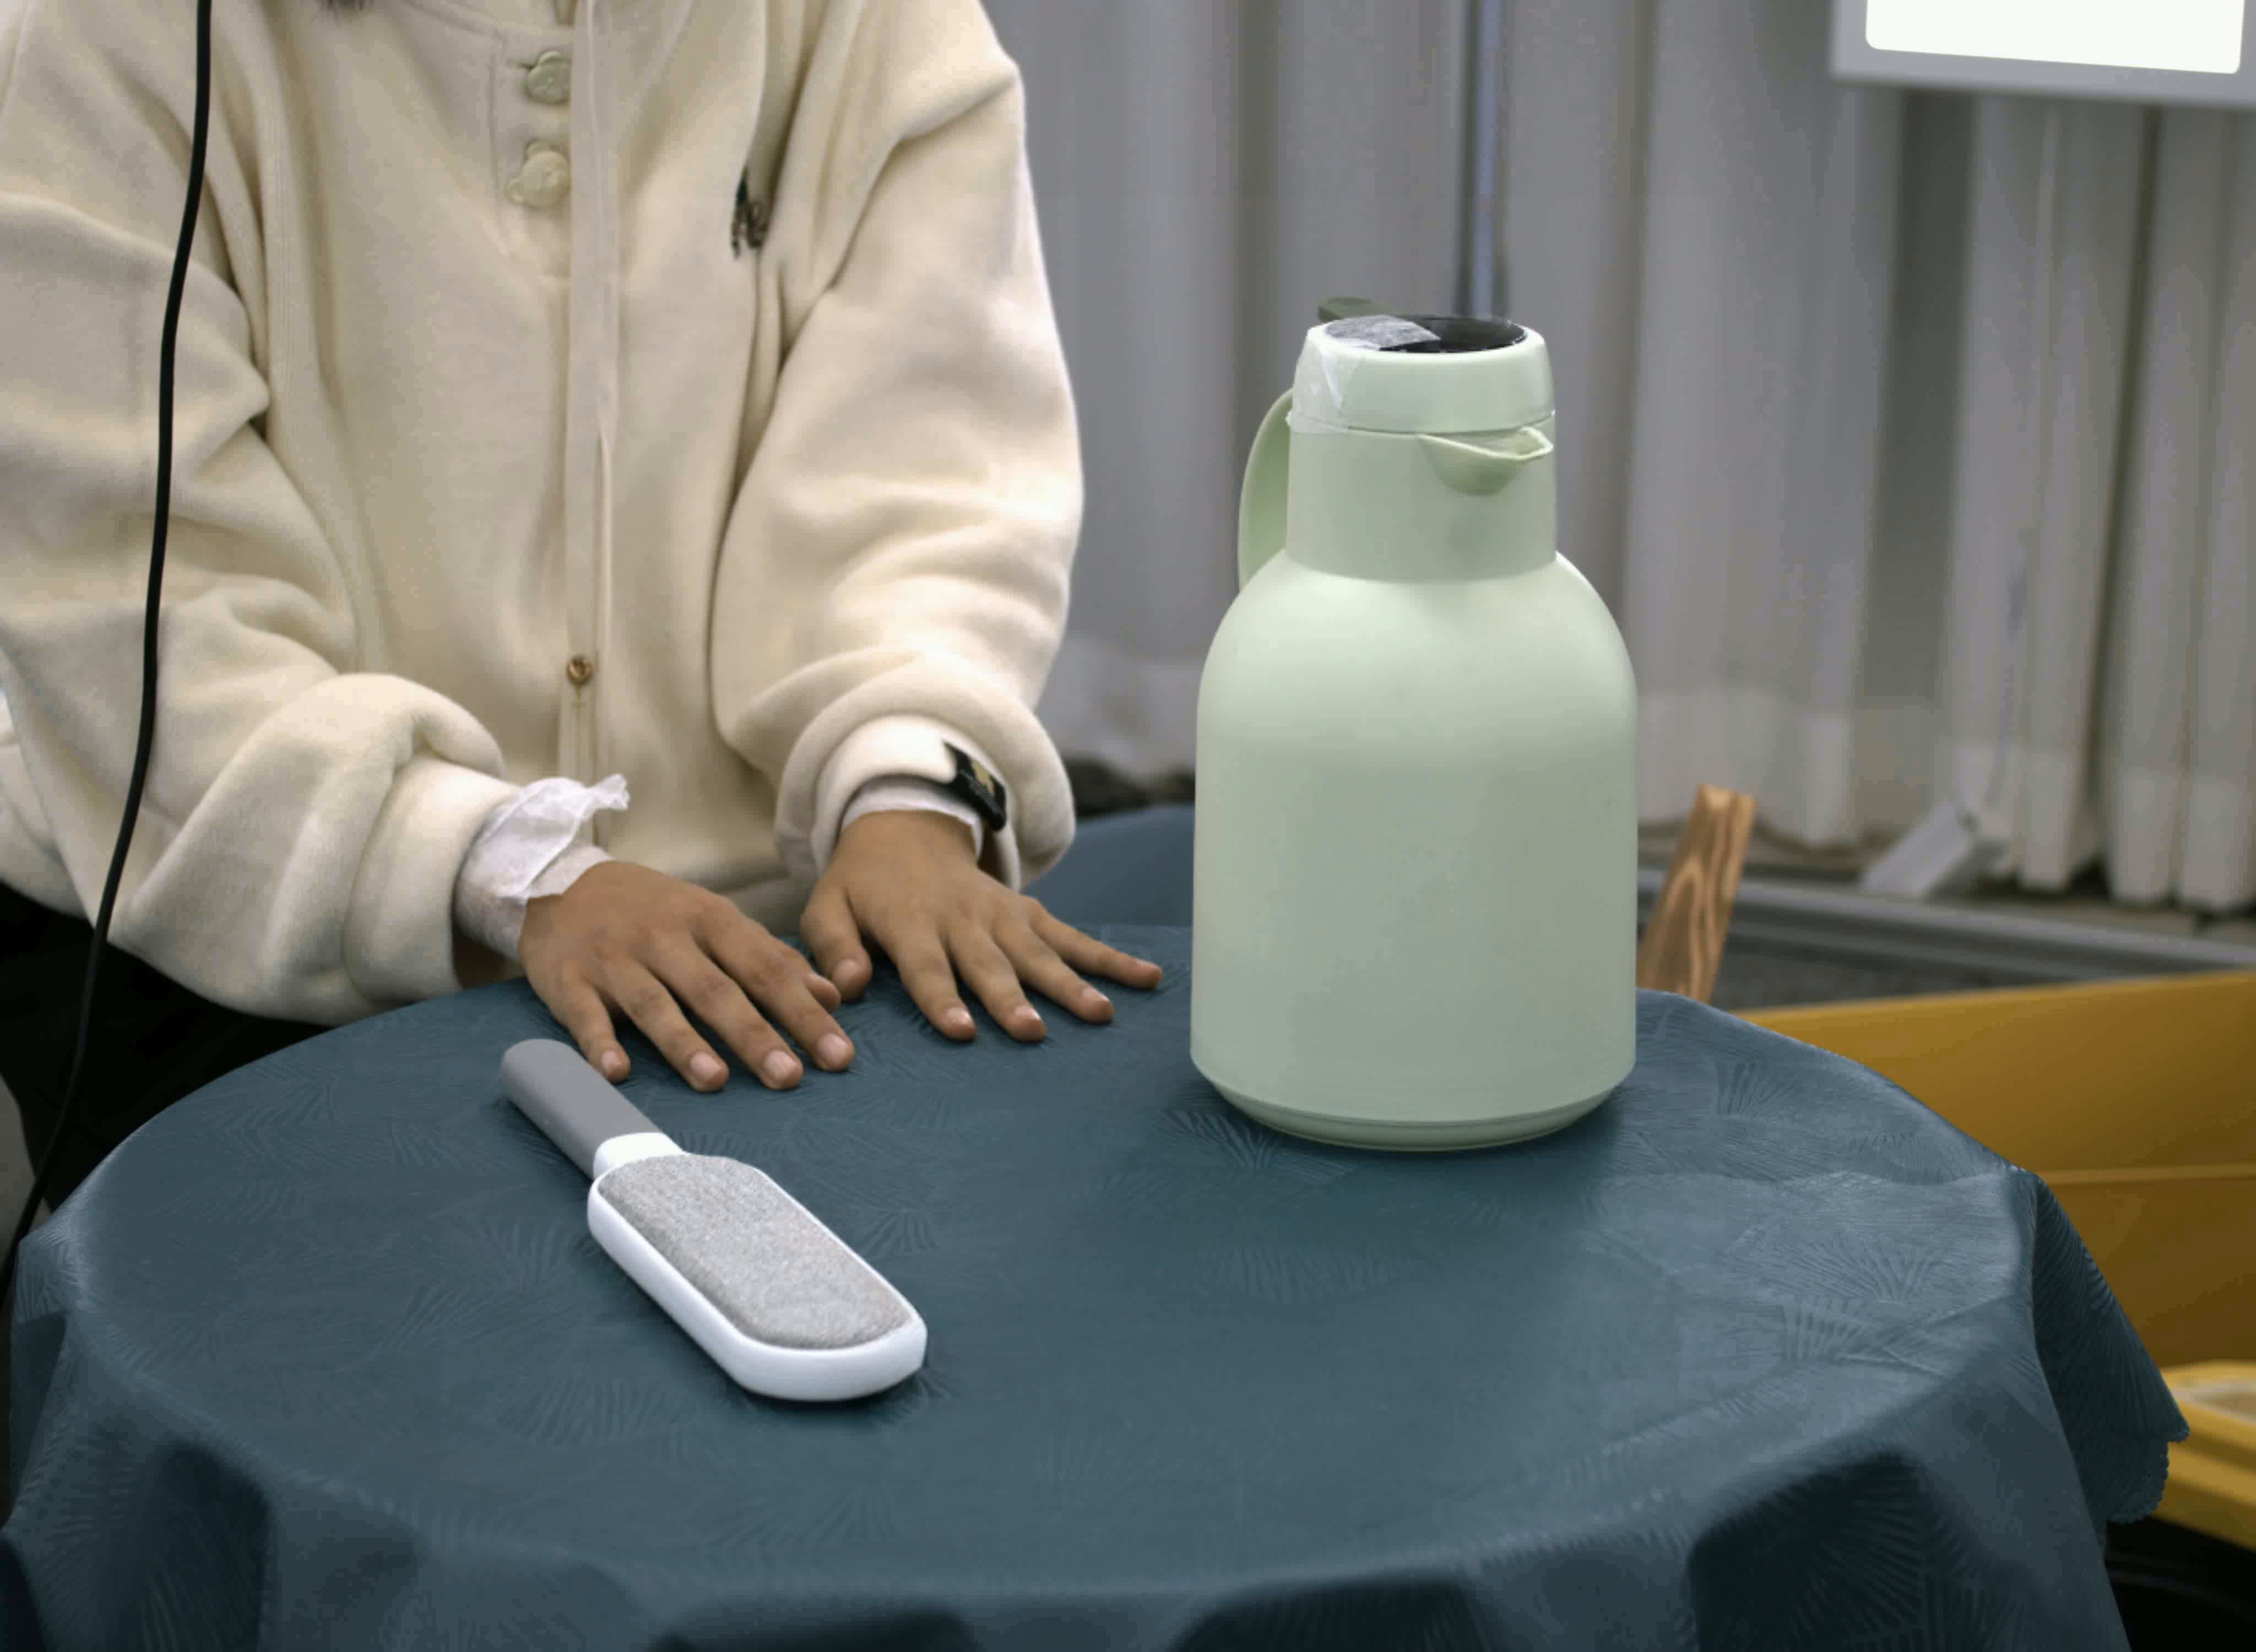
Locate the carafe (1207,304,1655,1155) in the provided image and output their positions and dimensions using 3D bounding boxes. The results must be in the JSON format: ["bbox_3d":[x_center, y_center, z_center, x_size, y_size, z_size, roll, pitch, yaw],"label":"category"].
[{"bbox_3d":[0.089,-0.036,1.693,0.144,0.259,0.185,-8,14,-22],"label":"carafe"}]

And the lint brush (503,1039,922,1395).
[{"bbox_3d":[-0.133,0.112,1.573,0.060,0.021,0.305,-8,17,-22],"label":"lint brush"}]
